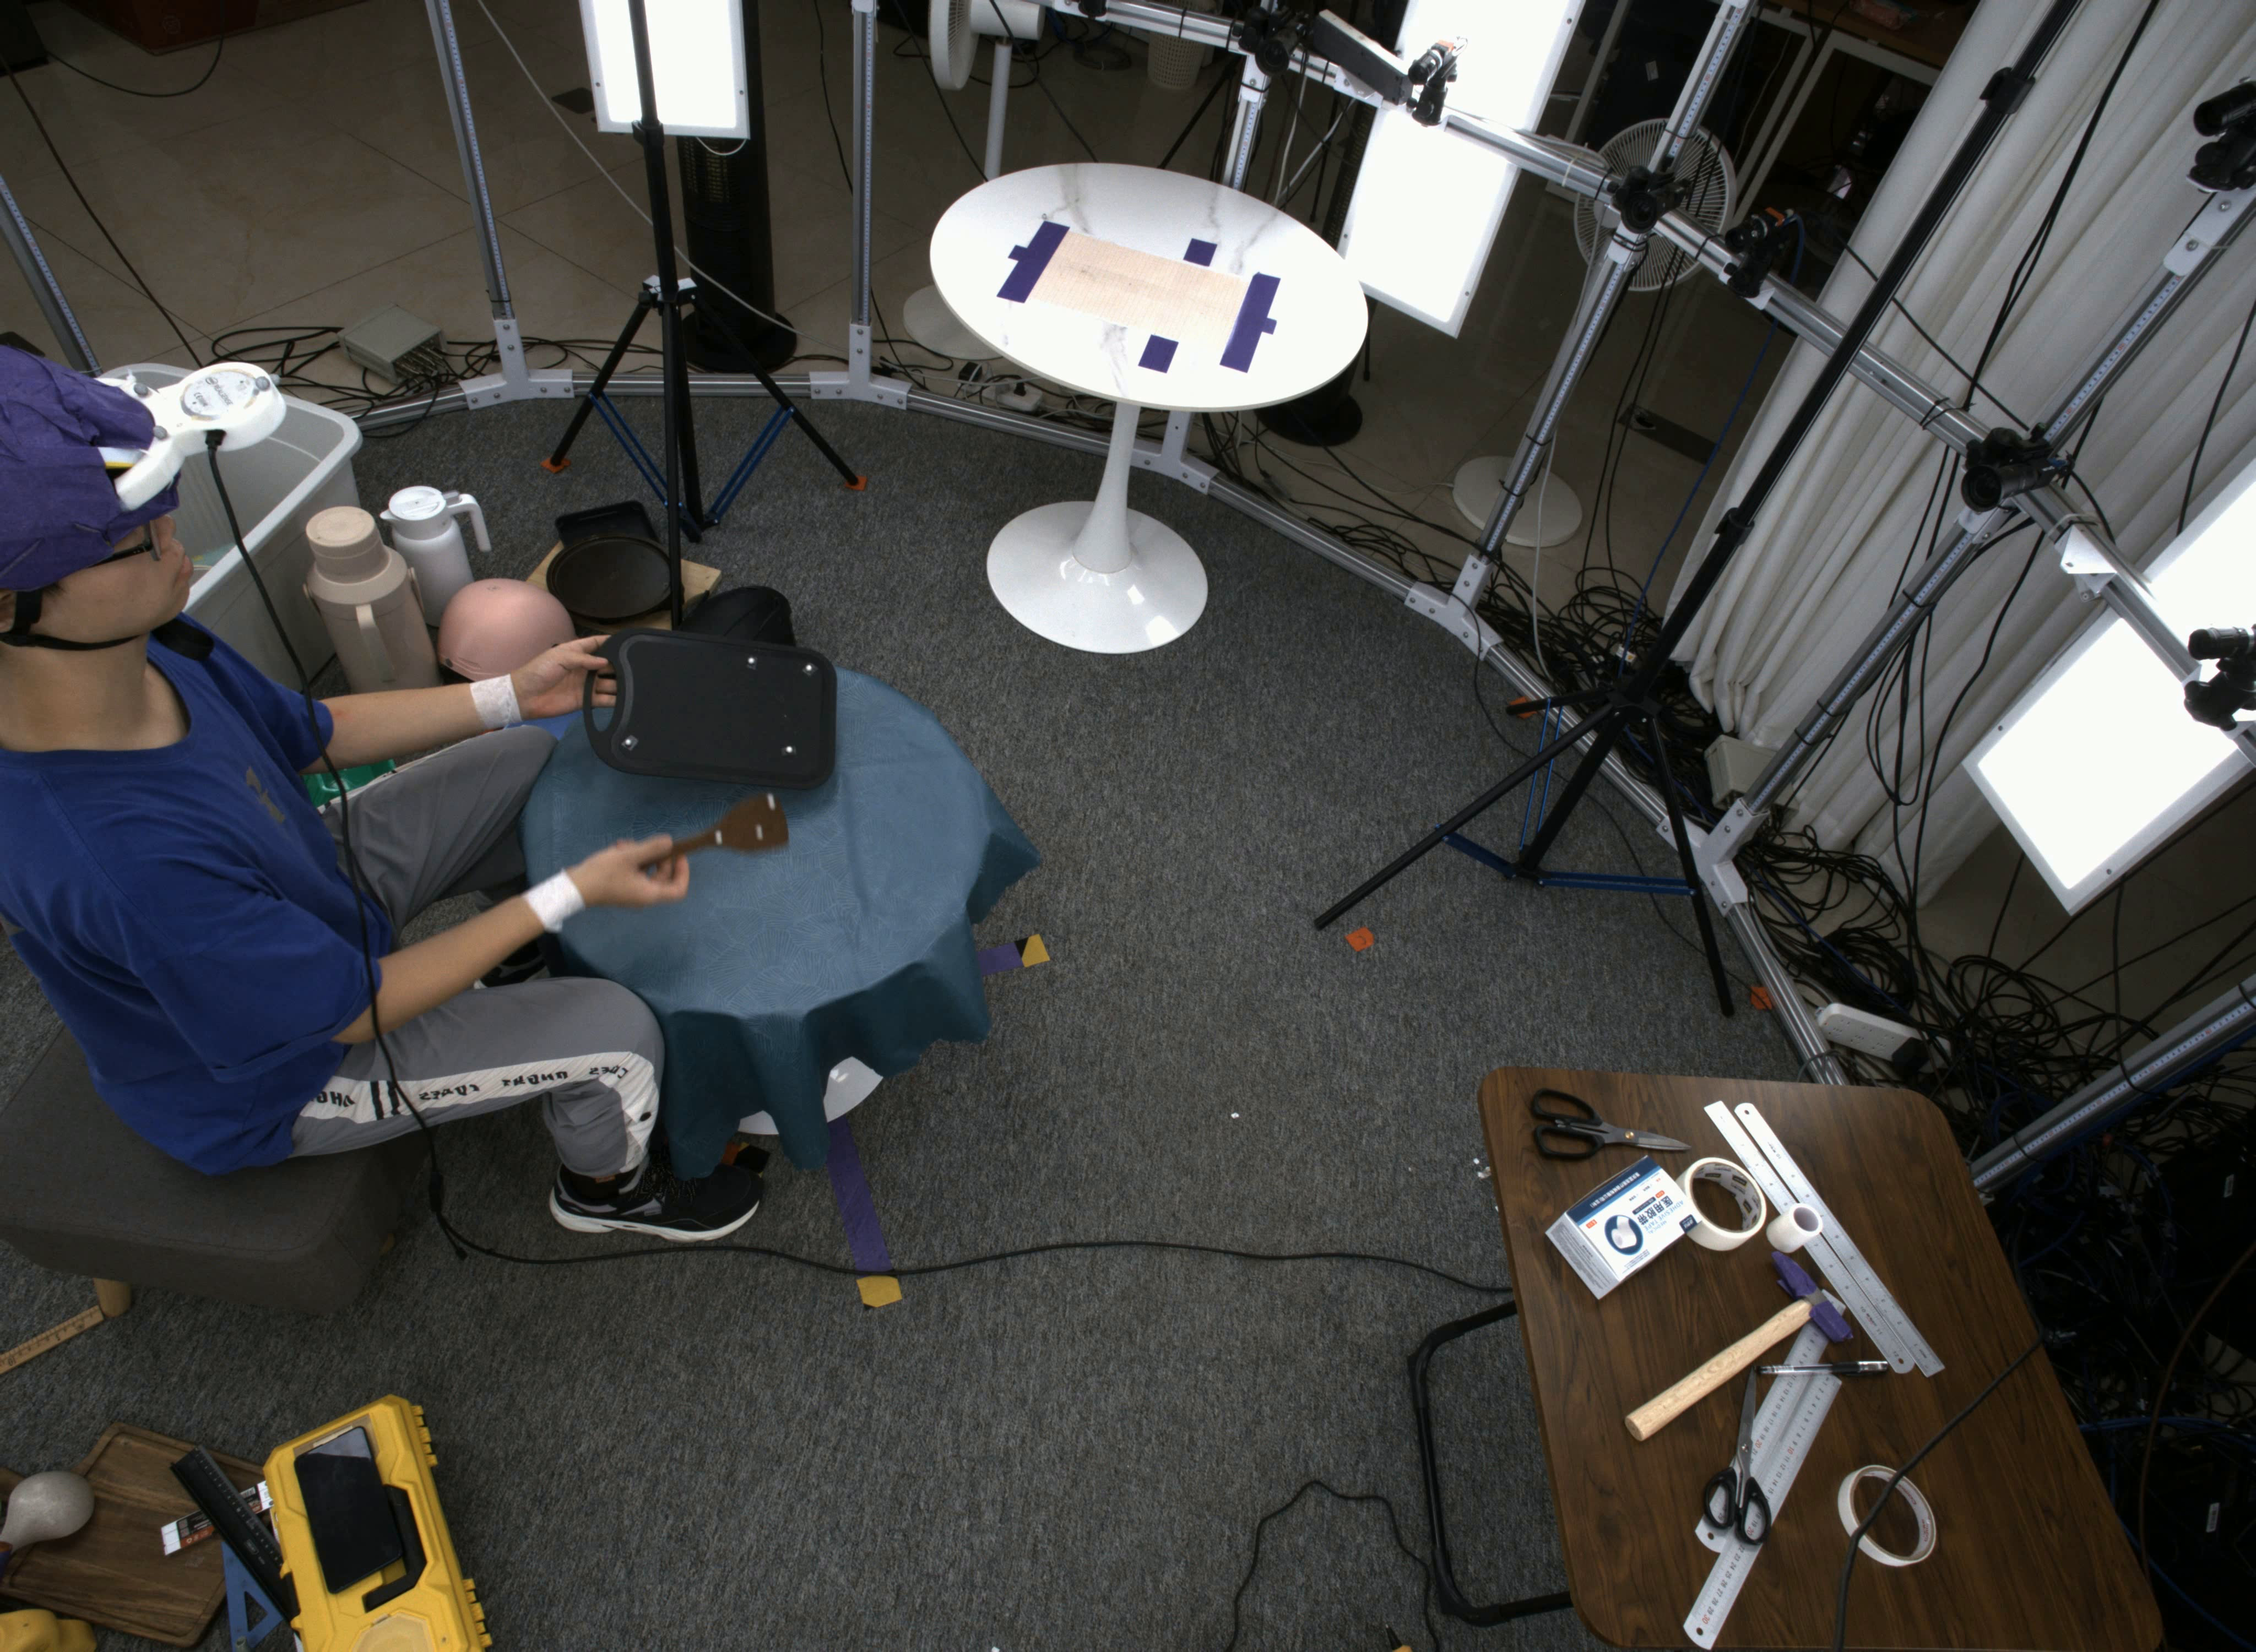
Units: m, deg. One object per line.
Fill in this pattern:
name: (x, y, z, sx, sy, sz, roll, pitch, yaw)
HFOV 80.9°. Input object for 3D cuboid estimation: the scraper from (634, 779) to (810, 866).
scraper: (-0.487, 0.002, 1.546, 0.212, 0.078, 0.010, -19, 31, -23)

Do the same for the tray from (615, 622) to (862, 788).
tray: (-0.517, -0.163, 1.710, 0.329, 0.010, 0.210, 7, 70, -23)
